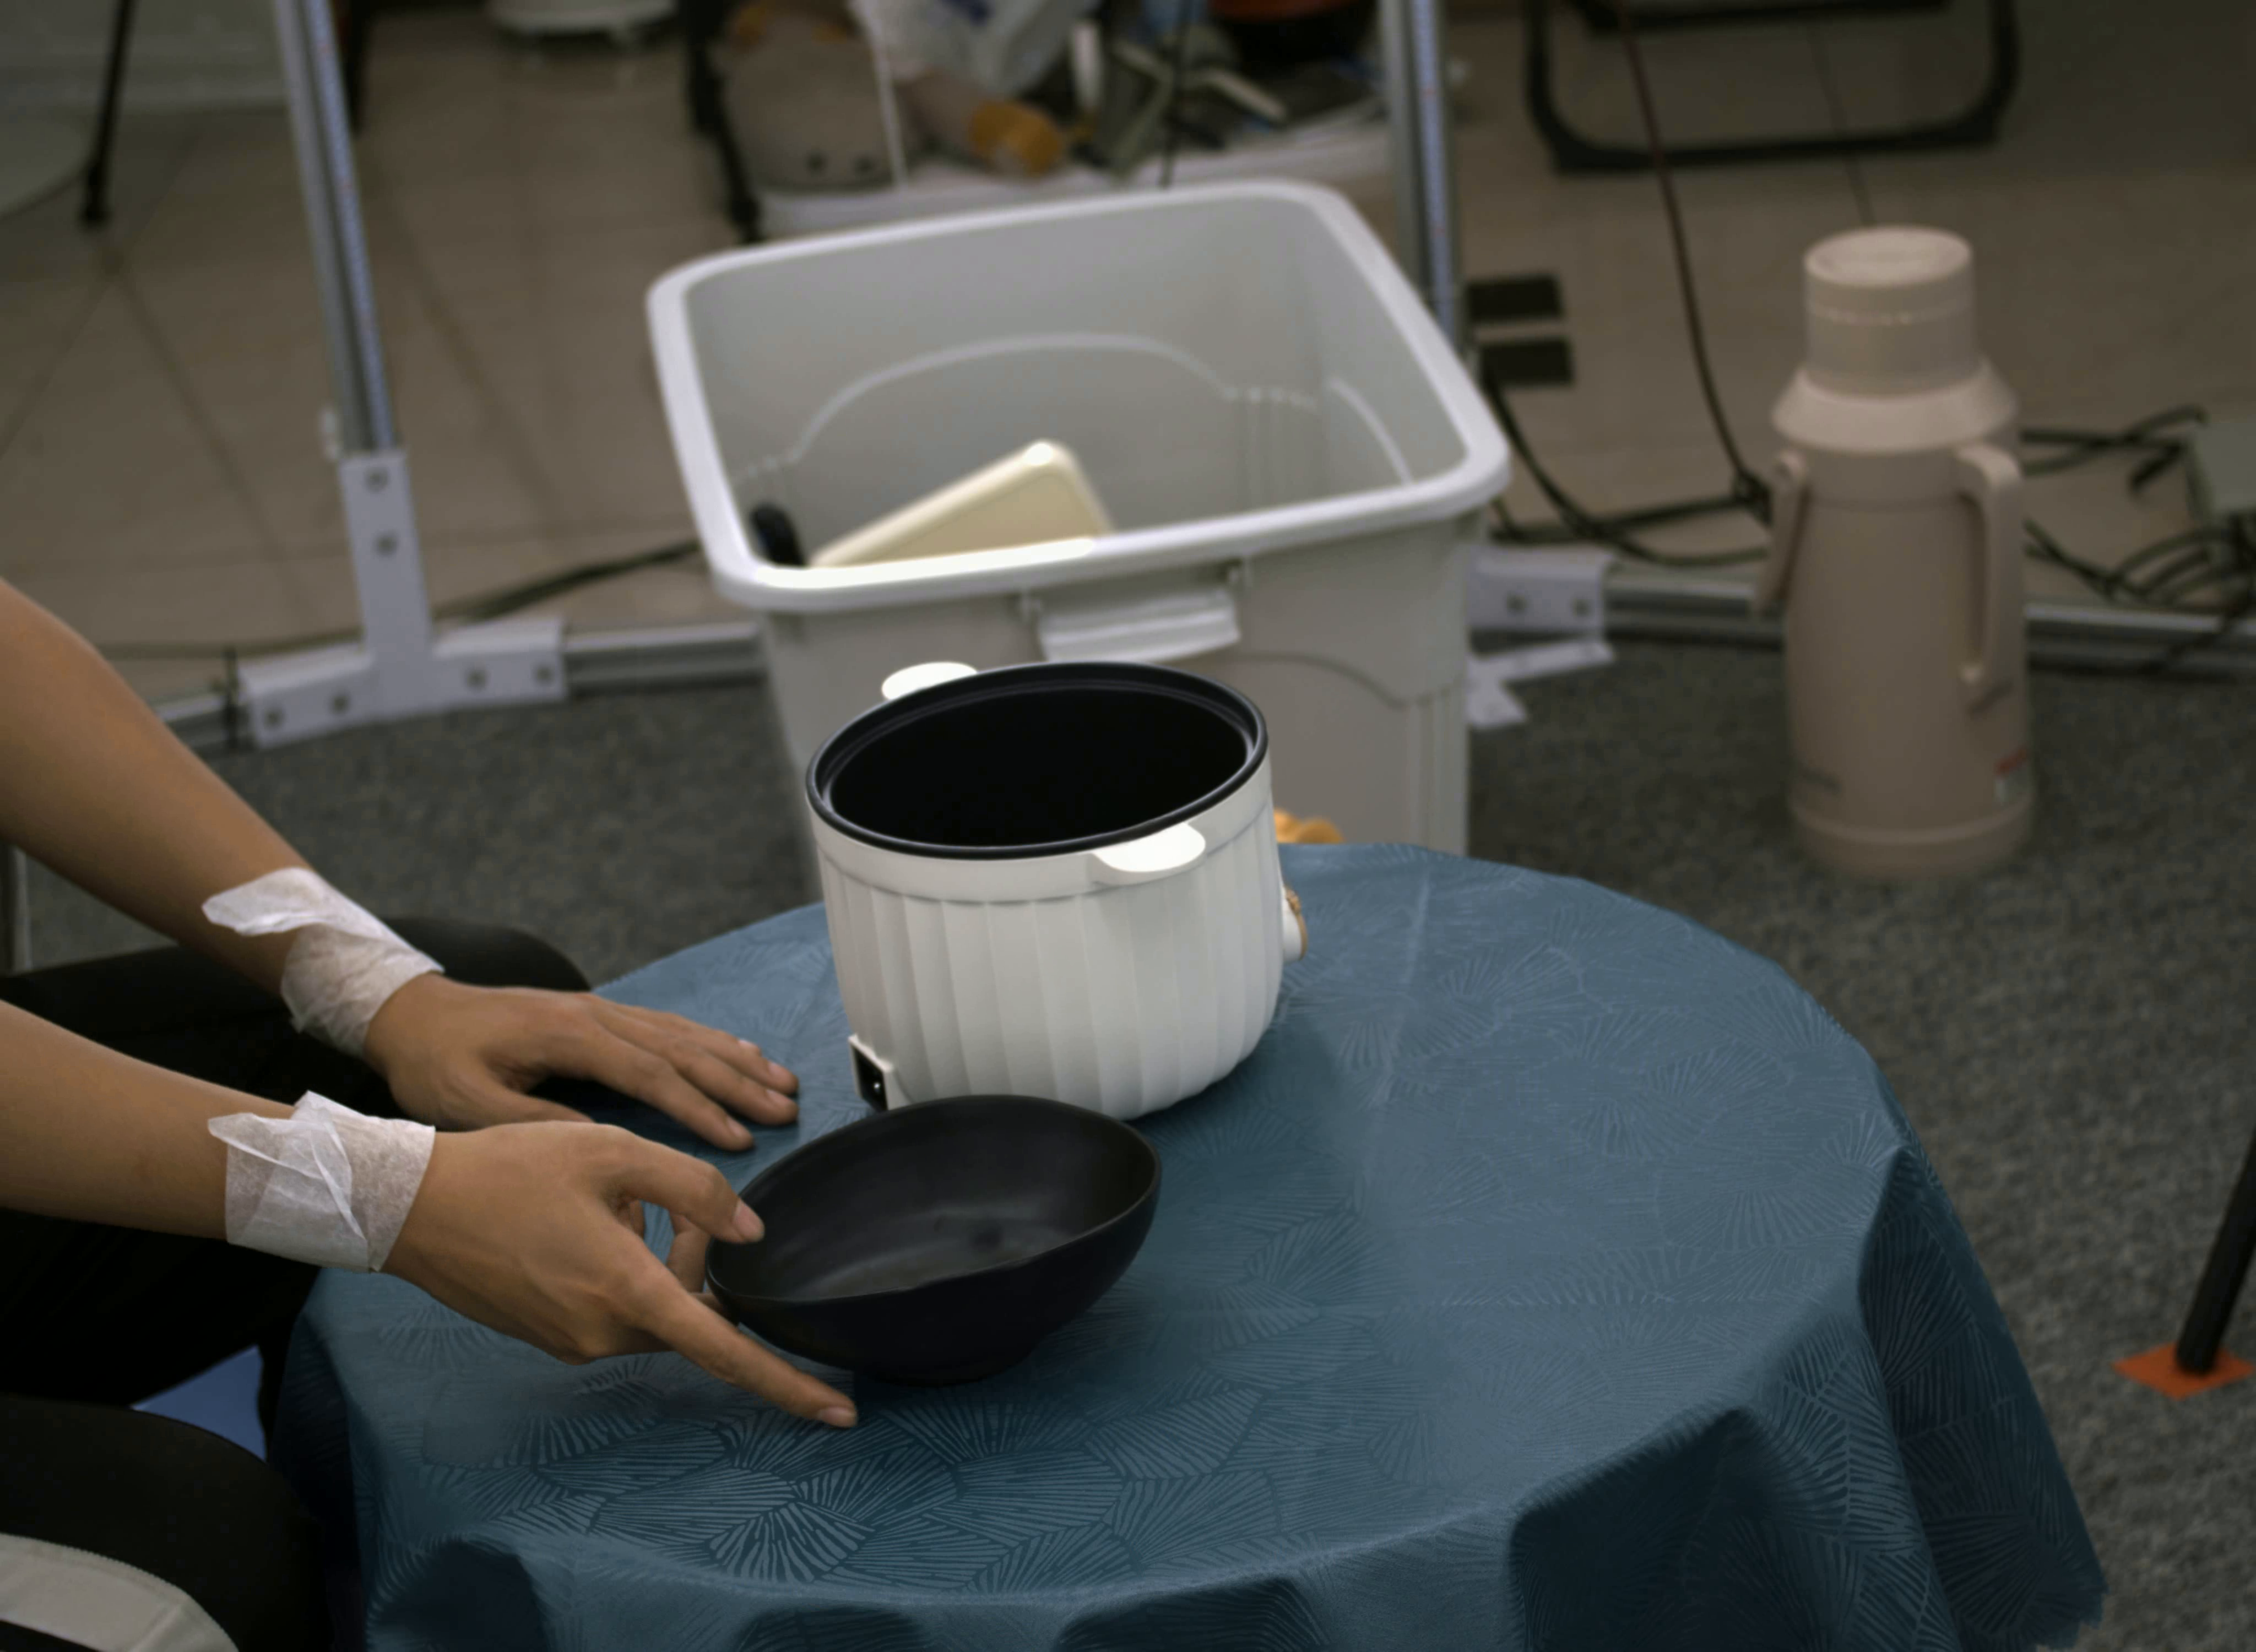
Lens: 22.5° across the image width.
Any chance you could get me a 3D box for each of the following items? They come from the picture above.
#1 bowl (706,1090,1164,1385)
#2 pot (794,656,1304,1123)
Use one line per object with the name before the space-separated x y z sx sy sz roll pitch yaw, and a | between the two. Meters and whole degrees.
bowl | -0.066 0.158 2.049 0.170 0.068 0.135 -15 25 -15
pot | -0.025 0.029 2.227 0.189 0.145 0.237 -21 29 -20
